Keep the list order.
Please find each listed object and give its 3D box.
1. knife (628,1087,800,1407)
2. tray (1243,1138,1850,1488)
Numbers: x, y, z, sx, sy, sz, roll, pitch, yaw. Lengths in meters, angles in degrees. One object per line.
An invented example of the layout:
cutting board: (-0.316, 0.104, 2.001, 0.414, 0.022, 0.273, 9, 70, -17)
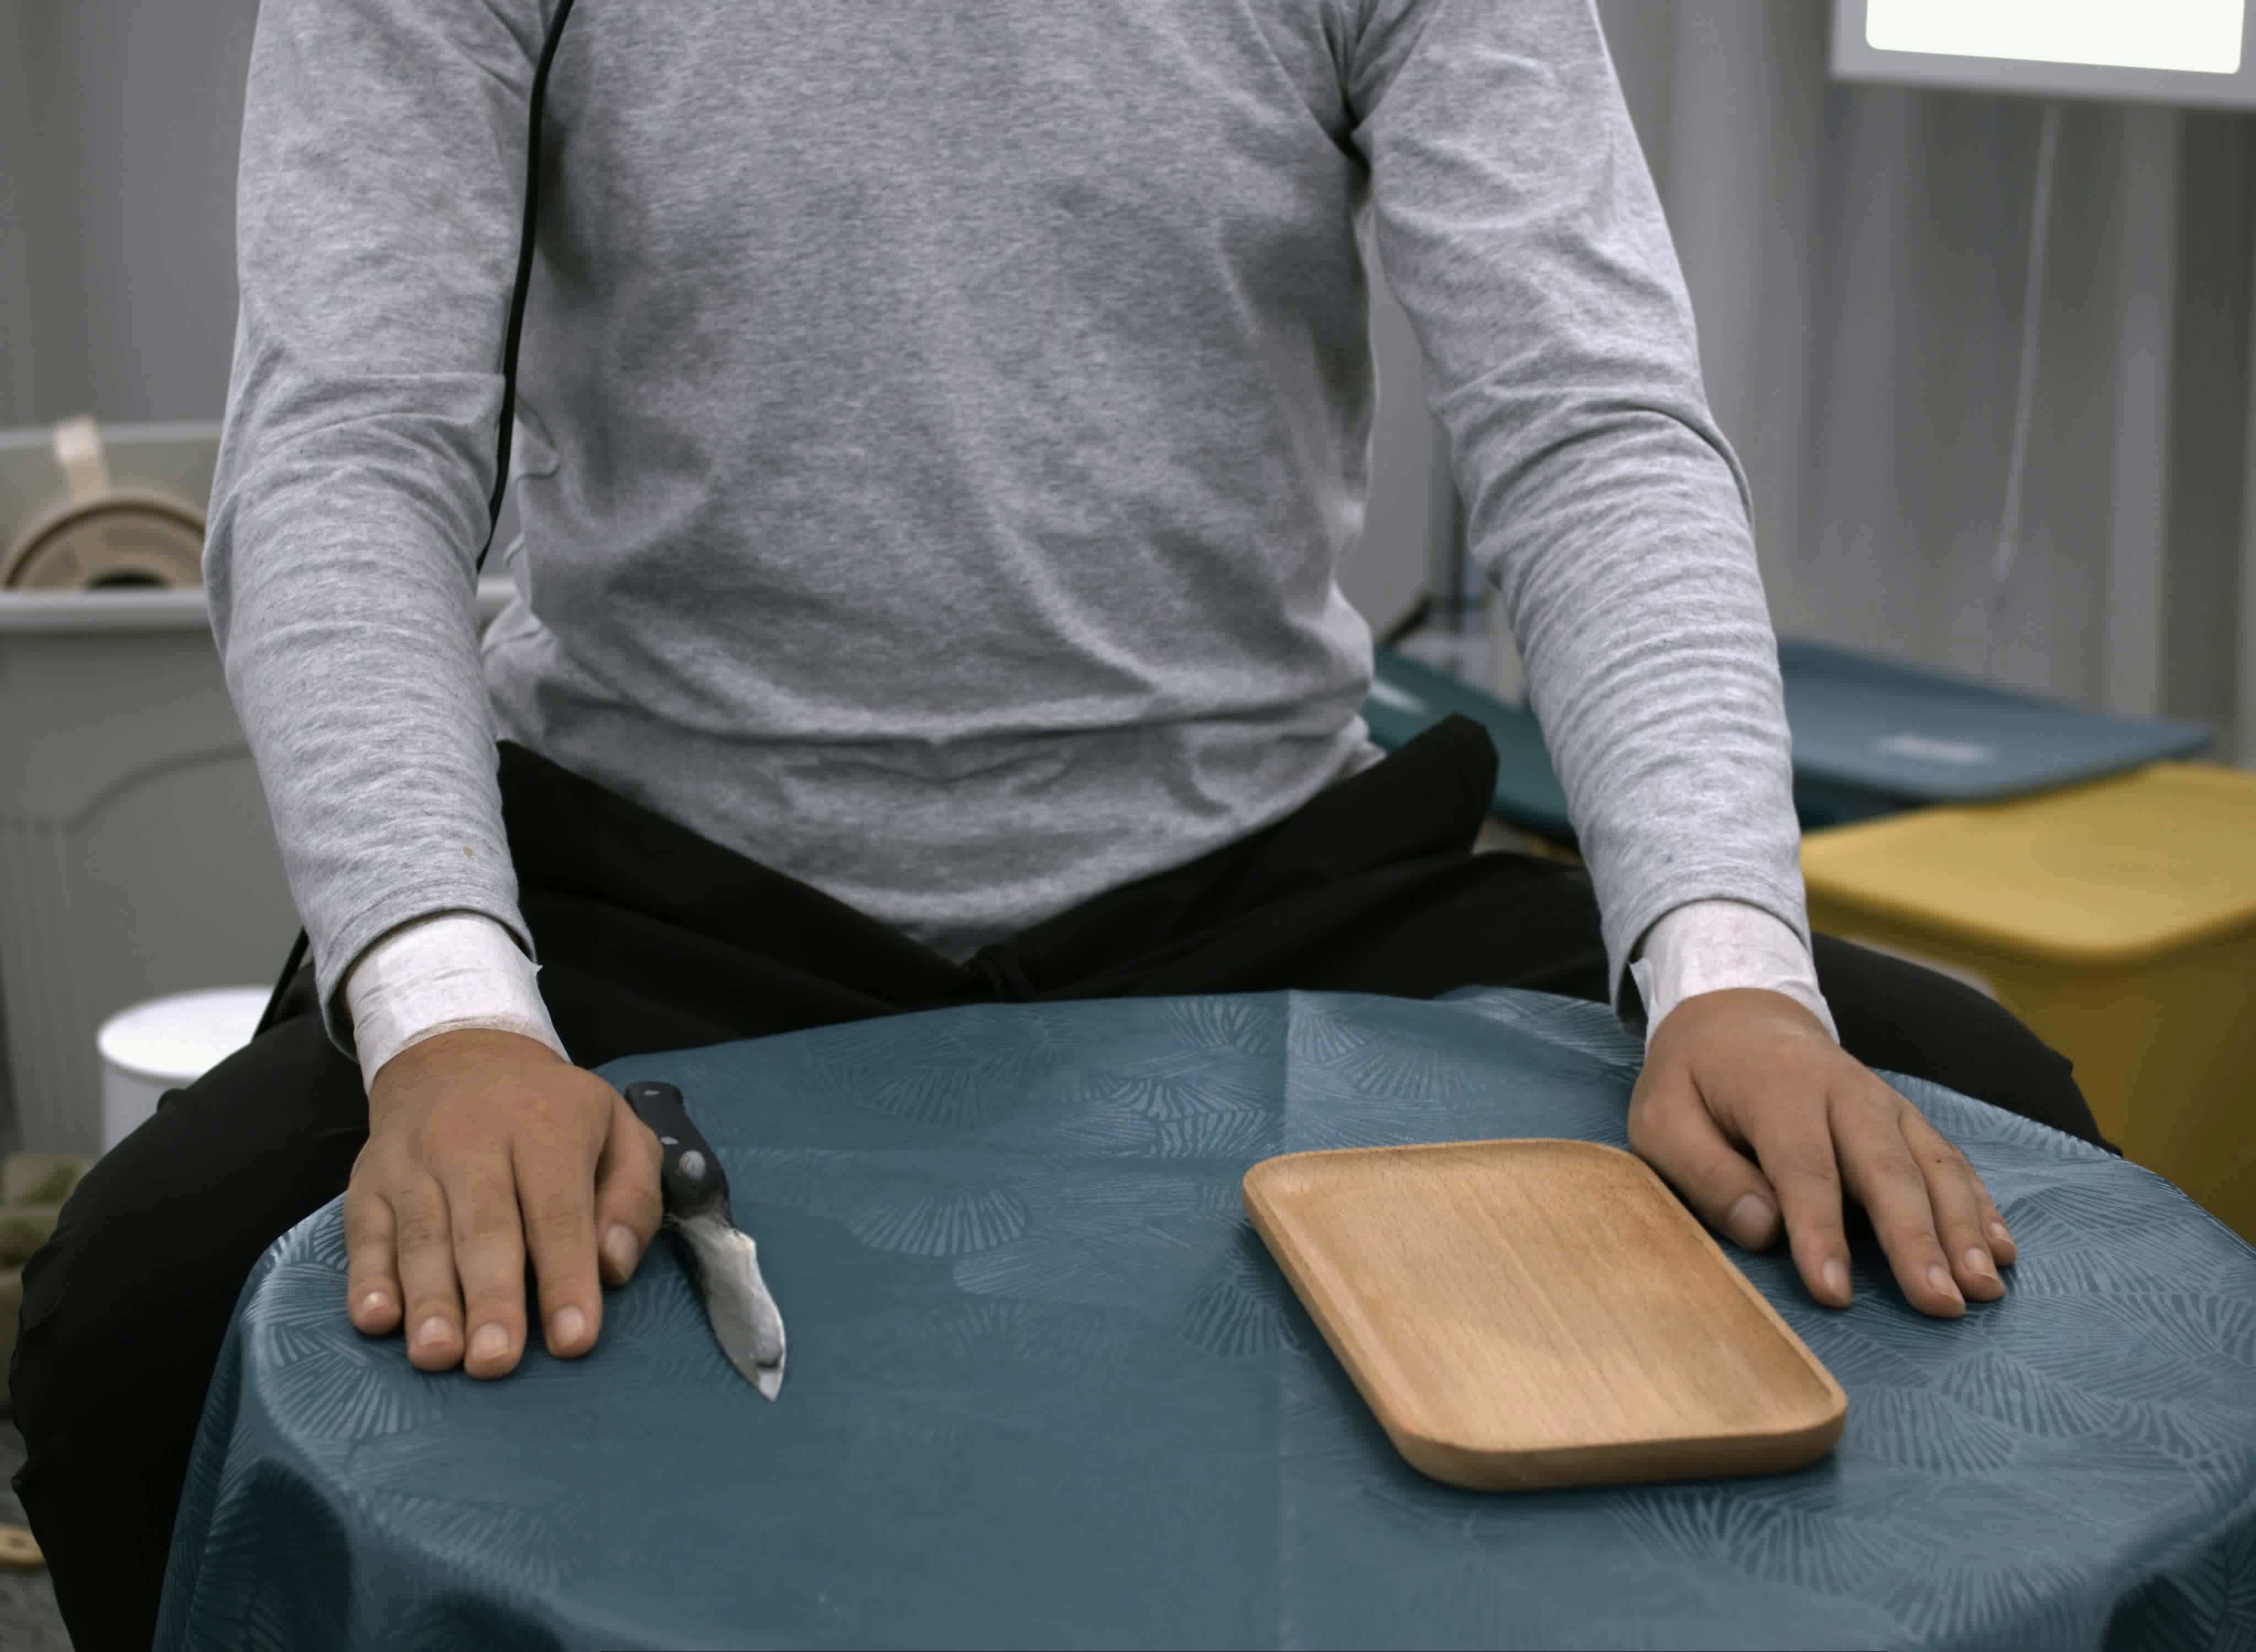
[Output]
knife: (-0.124, 0.124, 1.559, 0.024, 0.016, 0.236, -3, 19, -13)
tray: (0.115, 0.136, 1.512, 0.130, 0.023, 0.248, 0, 14, -10)
